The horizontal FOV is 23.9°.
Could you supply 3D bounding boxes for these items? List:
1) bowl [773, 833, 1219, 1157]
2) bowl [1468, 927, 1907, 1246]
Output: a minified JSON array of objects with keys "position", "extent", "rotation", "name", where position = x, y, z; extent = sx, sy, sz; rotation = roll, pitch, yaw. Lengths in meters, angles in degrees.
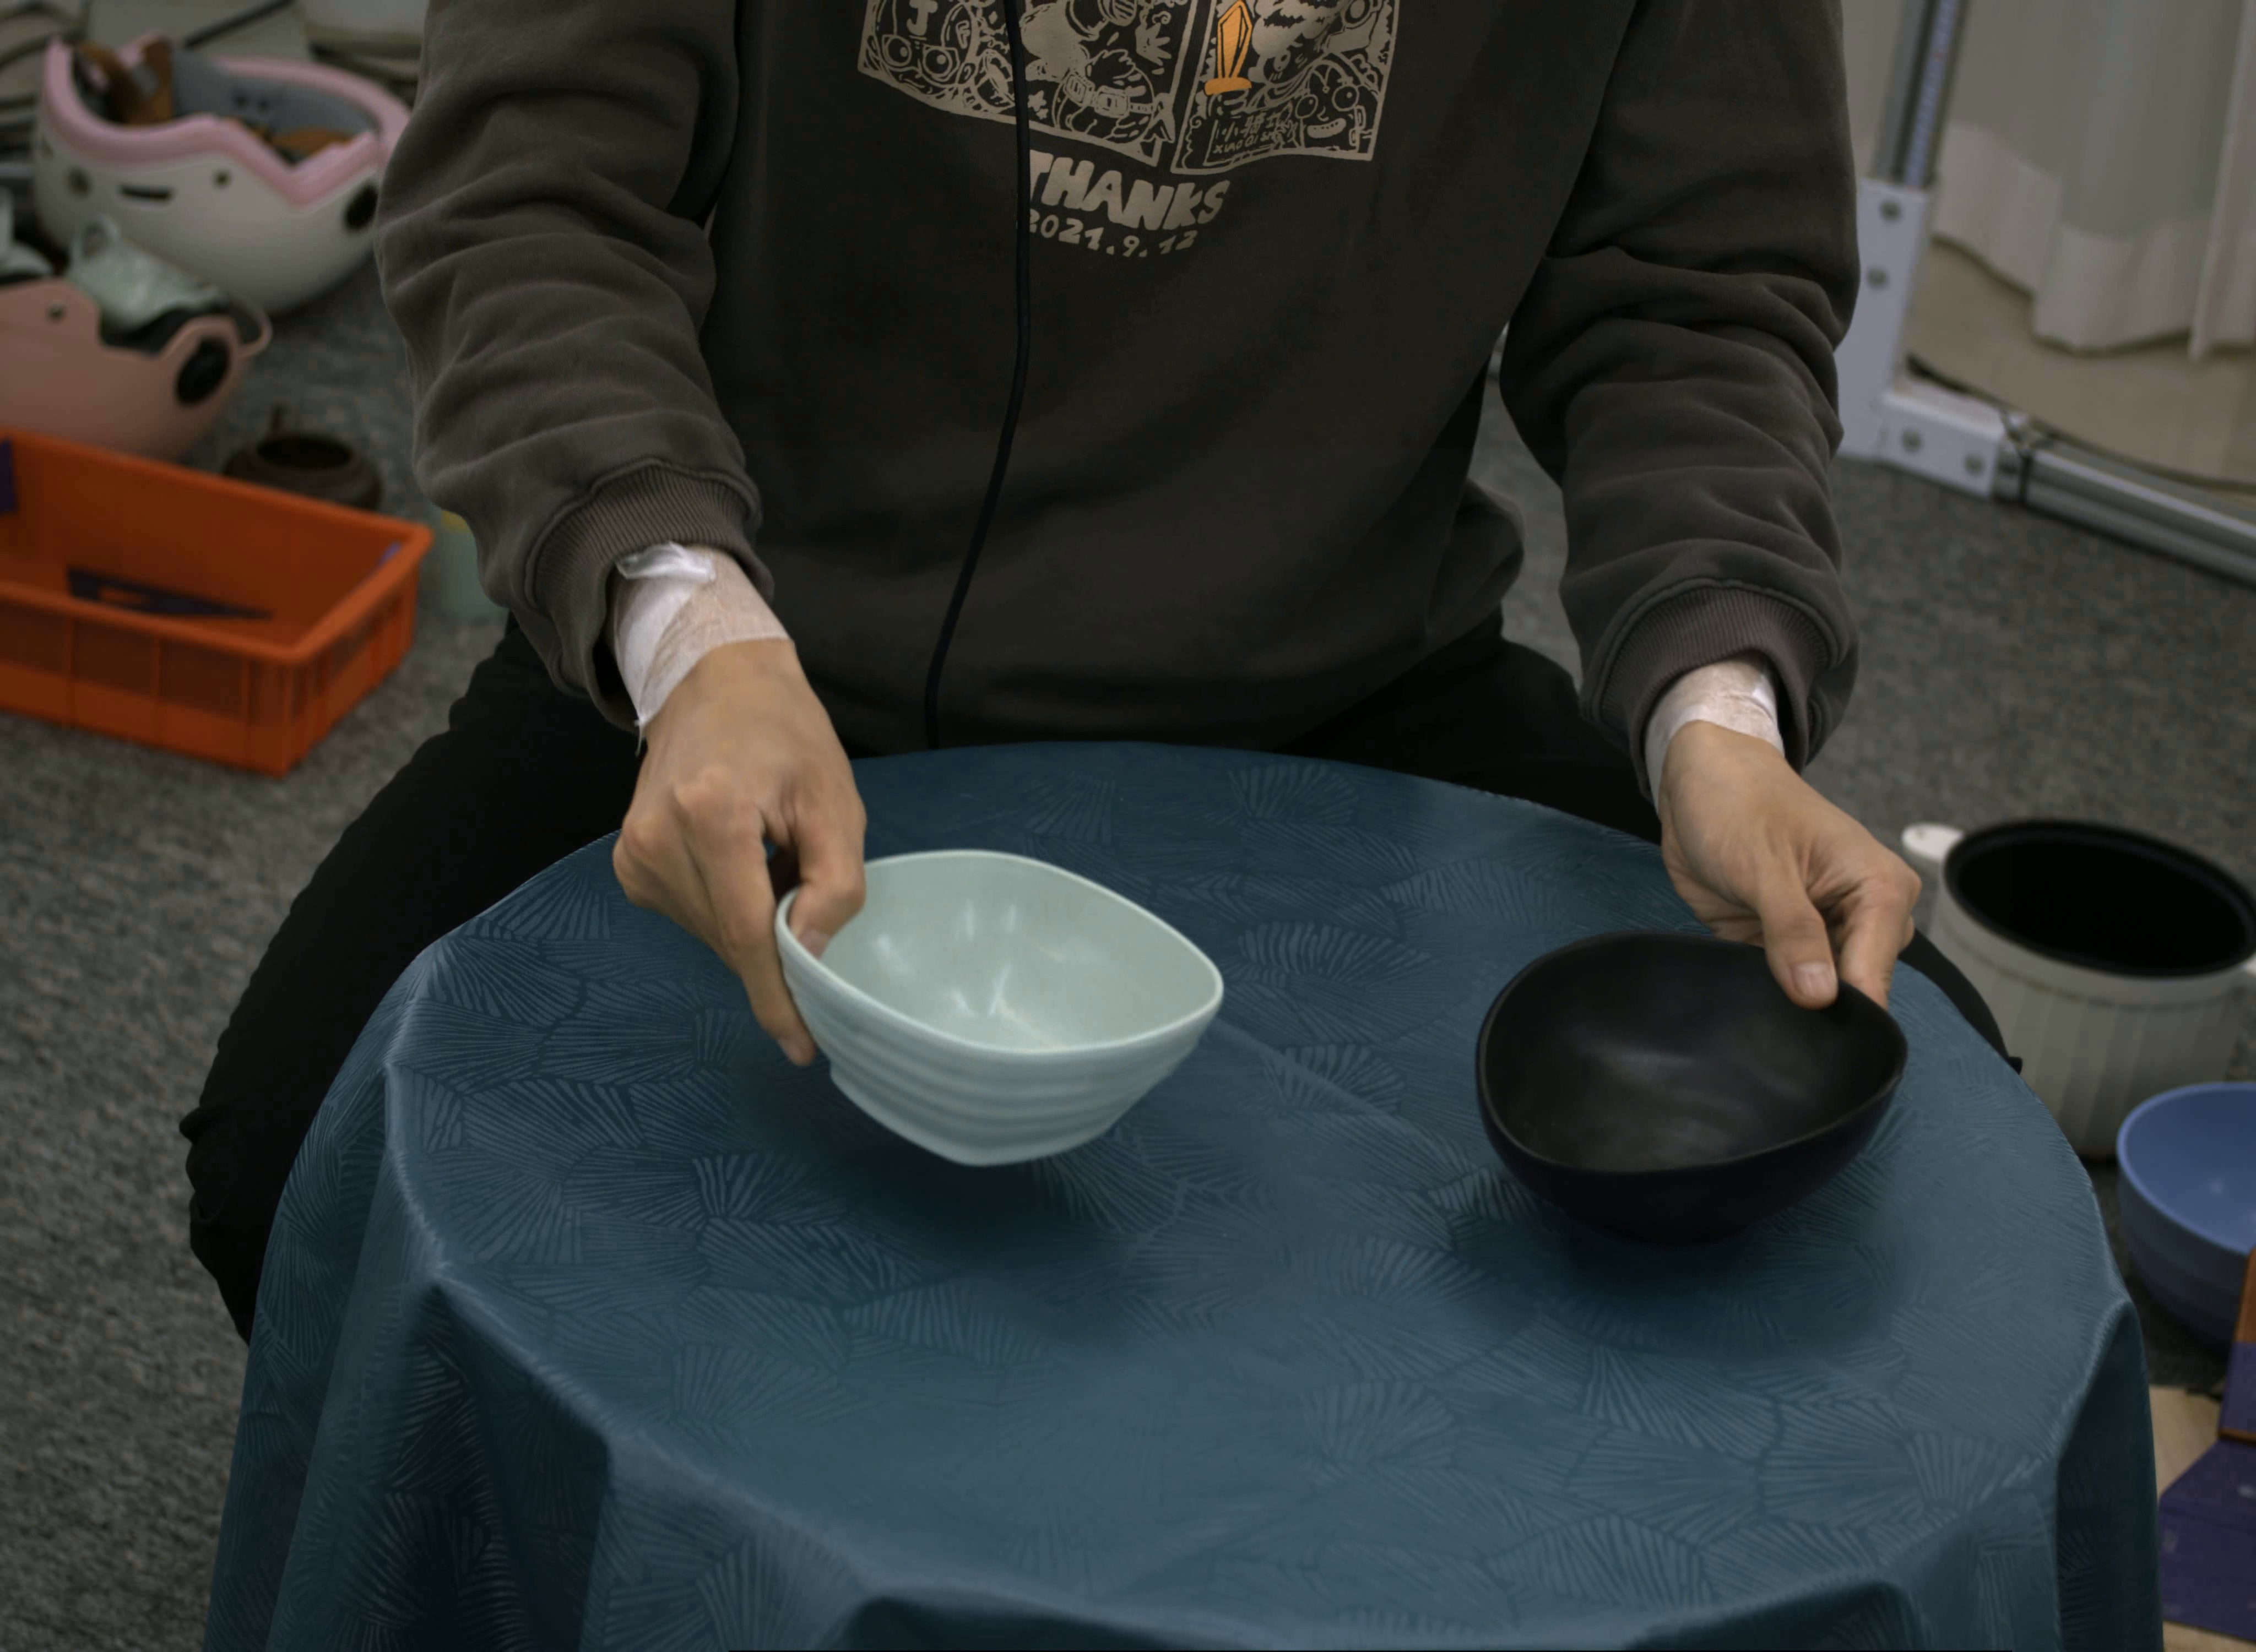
[{"position":[-0.049,0.062,1.777],"extent":[0.151,0.058,0.152],"rotation":[10,25,-5],"name":"bowl"},{"position":[0.189,0.100,1.822],"extent":[0.138,0.066,0.169],"rotation":[25,34,33],"name":"bowl"}]
